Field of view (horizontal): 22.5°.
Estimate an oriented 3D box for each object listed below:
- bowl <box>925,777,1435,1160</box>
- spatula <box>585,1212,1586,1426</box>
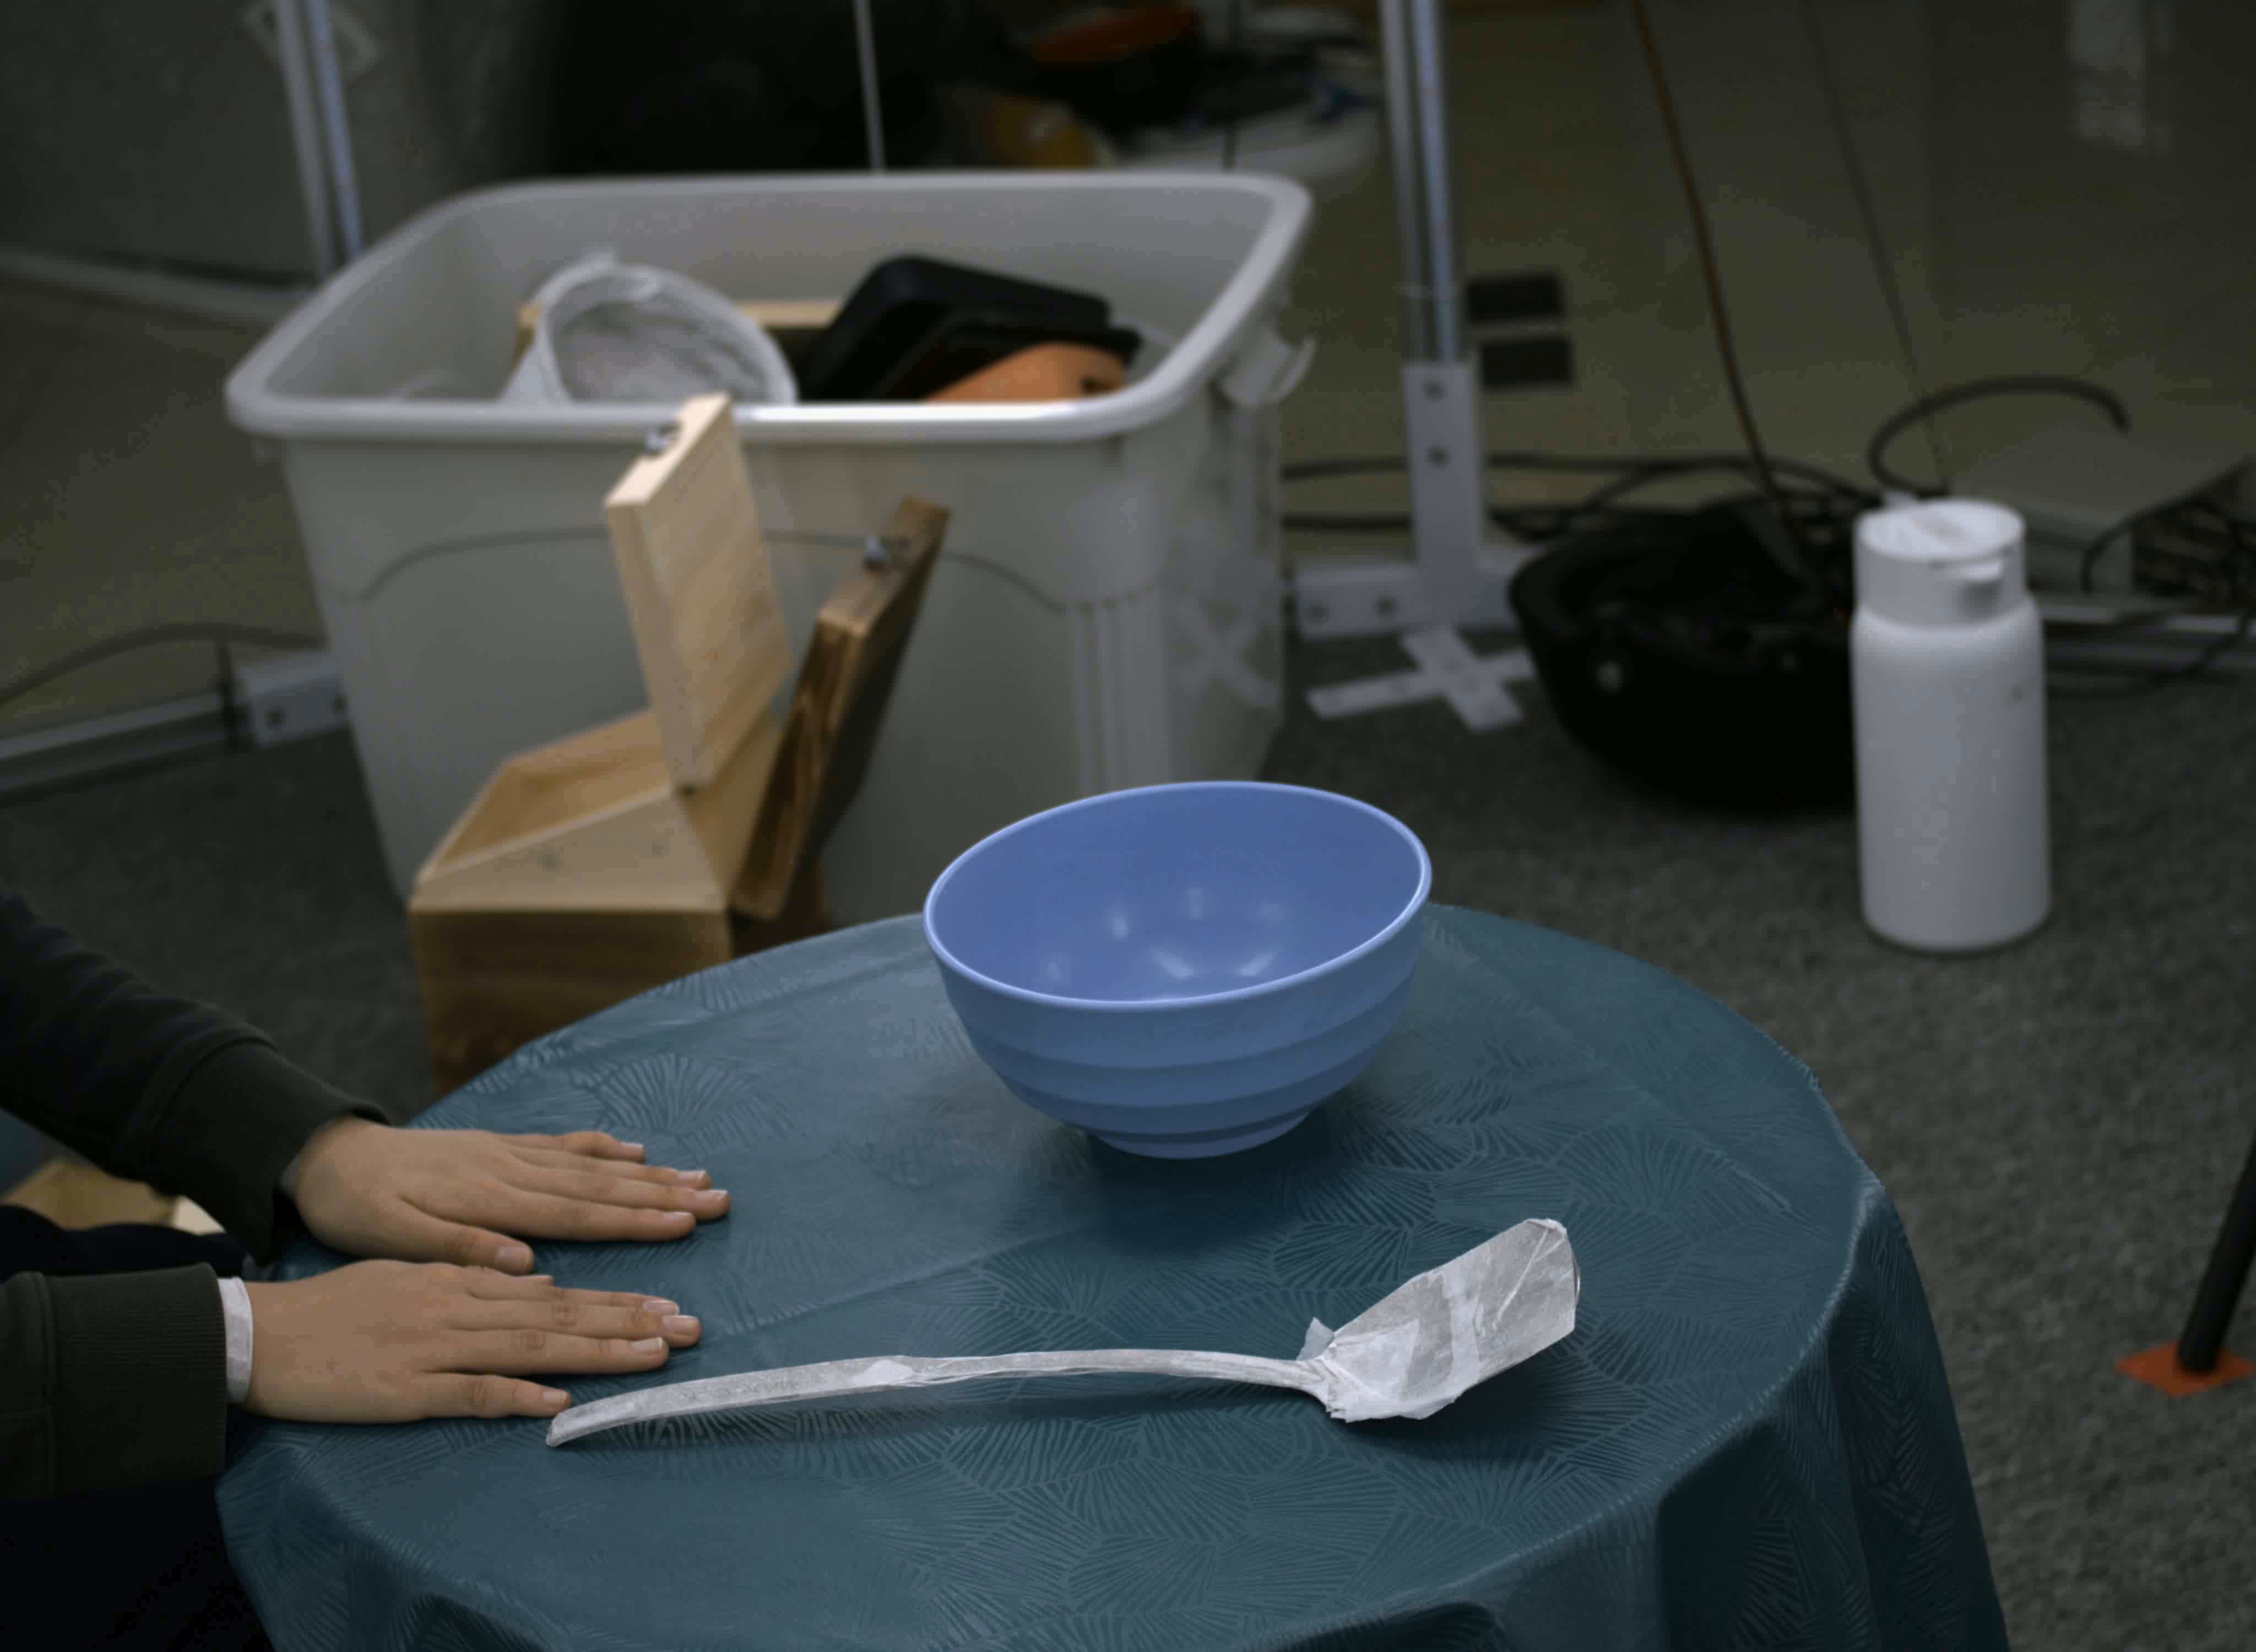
[{"bbox_3d":[0.023,0.066,2.189,0.196,0.097,0.193,-4,27,2],"label":"bowl"},{"bbox_3d":[-0.019,0.185,2.012,0.364,0.045,0.097,-3,27,6],"label":"spatula"}]
